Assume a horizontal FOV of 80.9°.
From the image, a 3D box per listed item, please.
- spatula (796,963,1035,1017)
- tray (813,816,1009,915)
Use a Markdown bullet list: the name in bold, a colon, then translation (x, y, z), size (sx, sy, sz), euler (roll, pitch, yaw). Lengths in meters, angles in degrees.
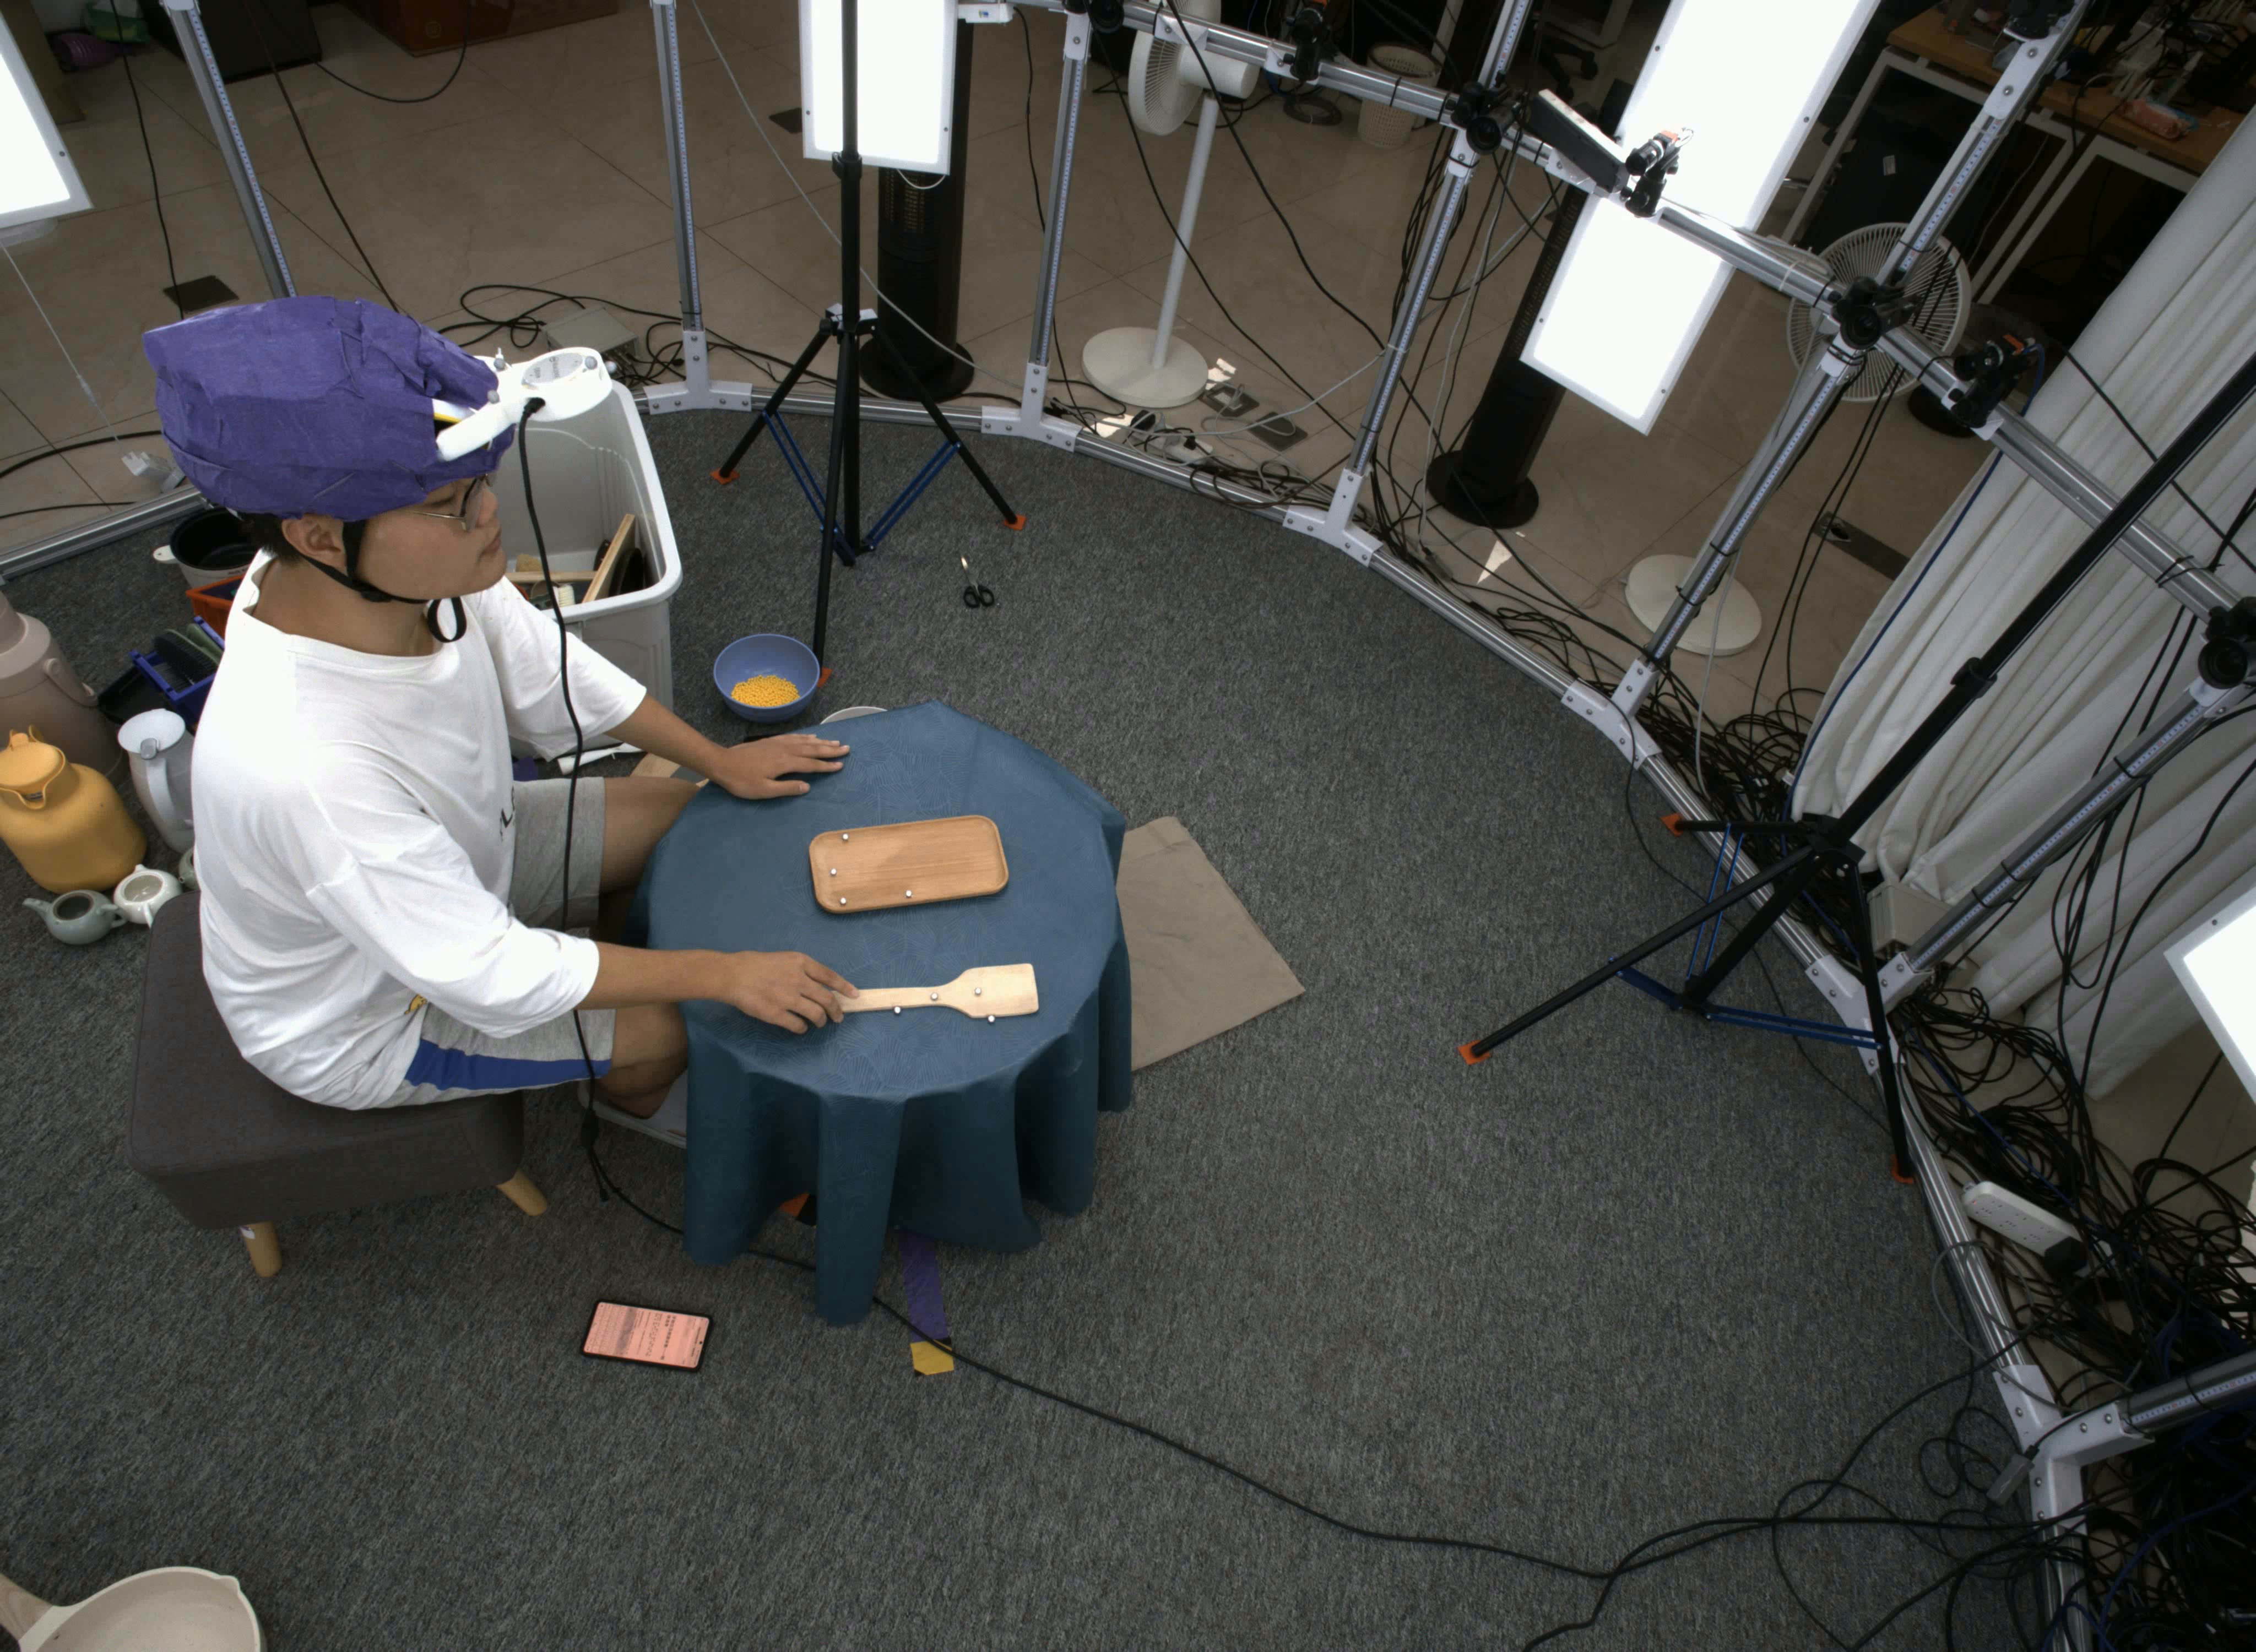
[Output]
- **spatula**: translation (-0.262, 0.209, 1.611), size (0.293, 0.011, 0.071), euler (-3, 56, -15)
- **tray**: translation (-0.286, 0.051, 1.720), size (0.251, 0.023, 0.128), euler (-5, 58, -17)
